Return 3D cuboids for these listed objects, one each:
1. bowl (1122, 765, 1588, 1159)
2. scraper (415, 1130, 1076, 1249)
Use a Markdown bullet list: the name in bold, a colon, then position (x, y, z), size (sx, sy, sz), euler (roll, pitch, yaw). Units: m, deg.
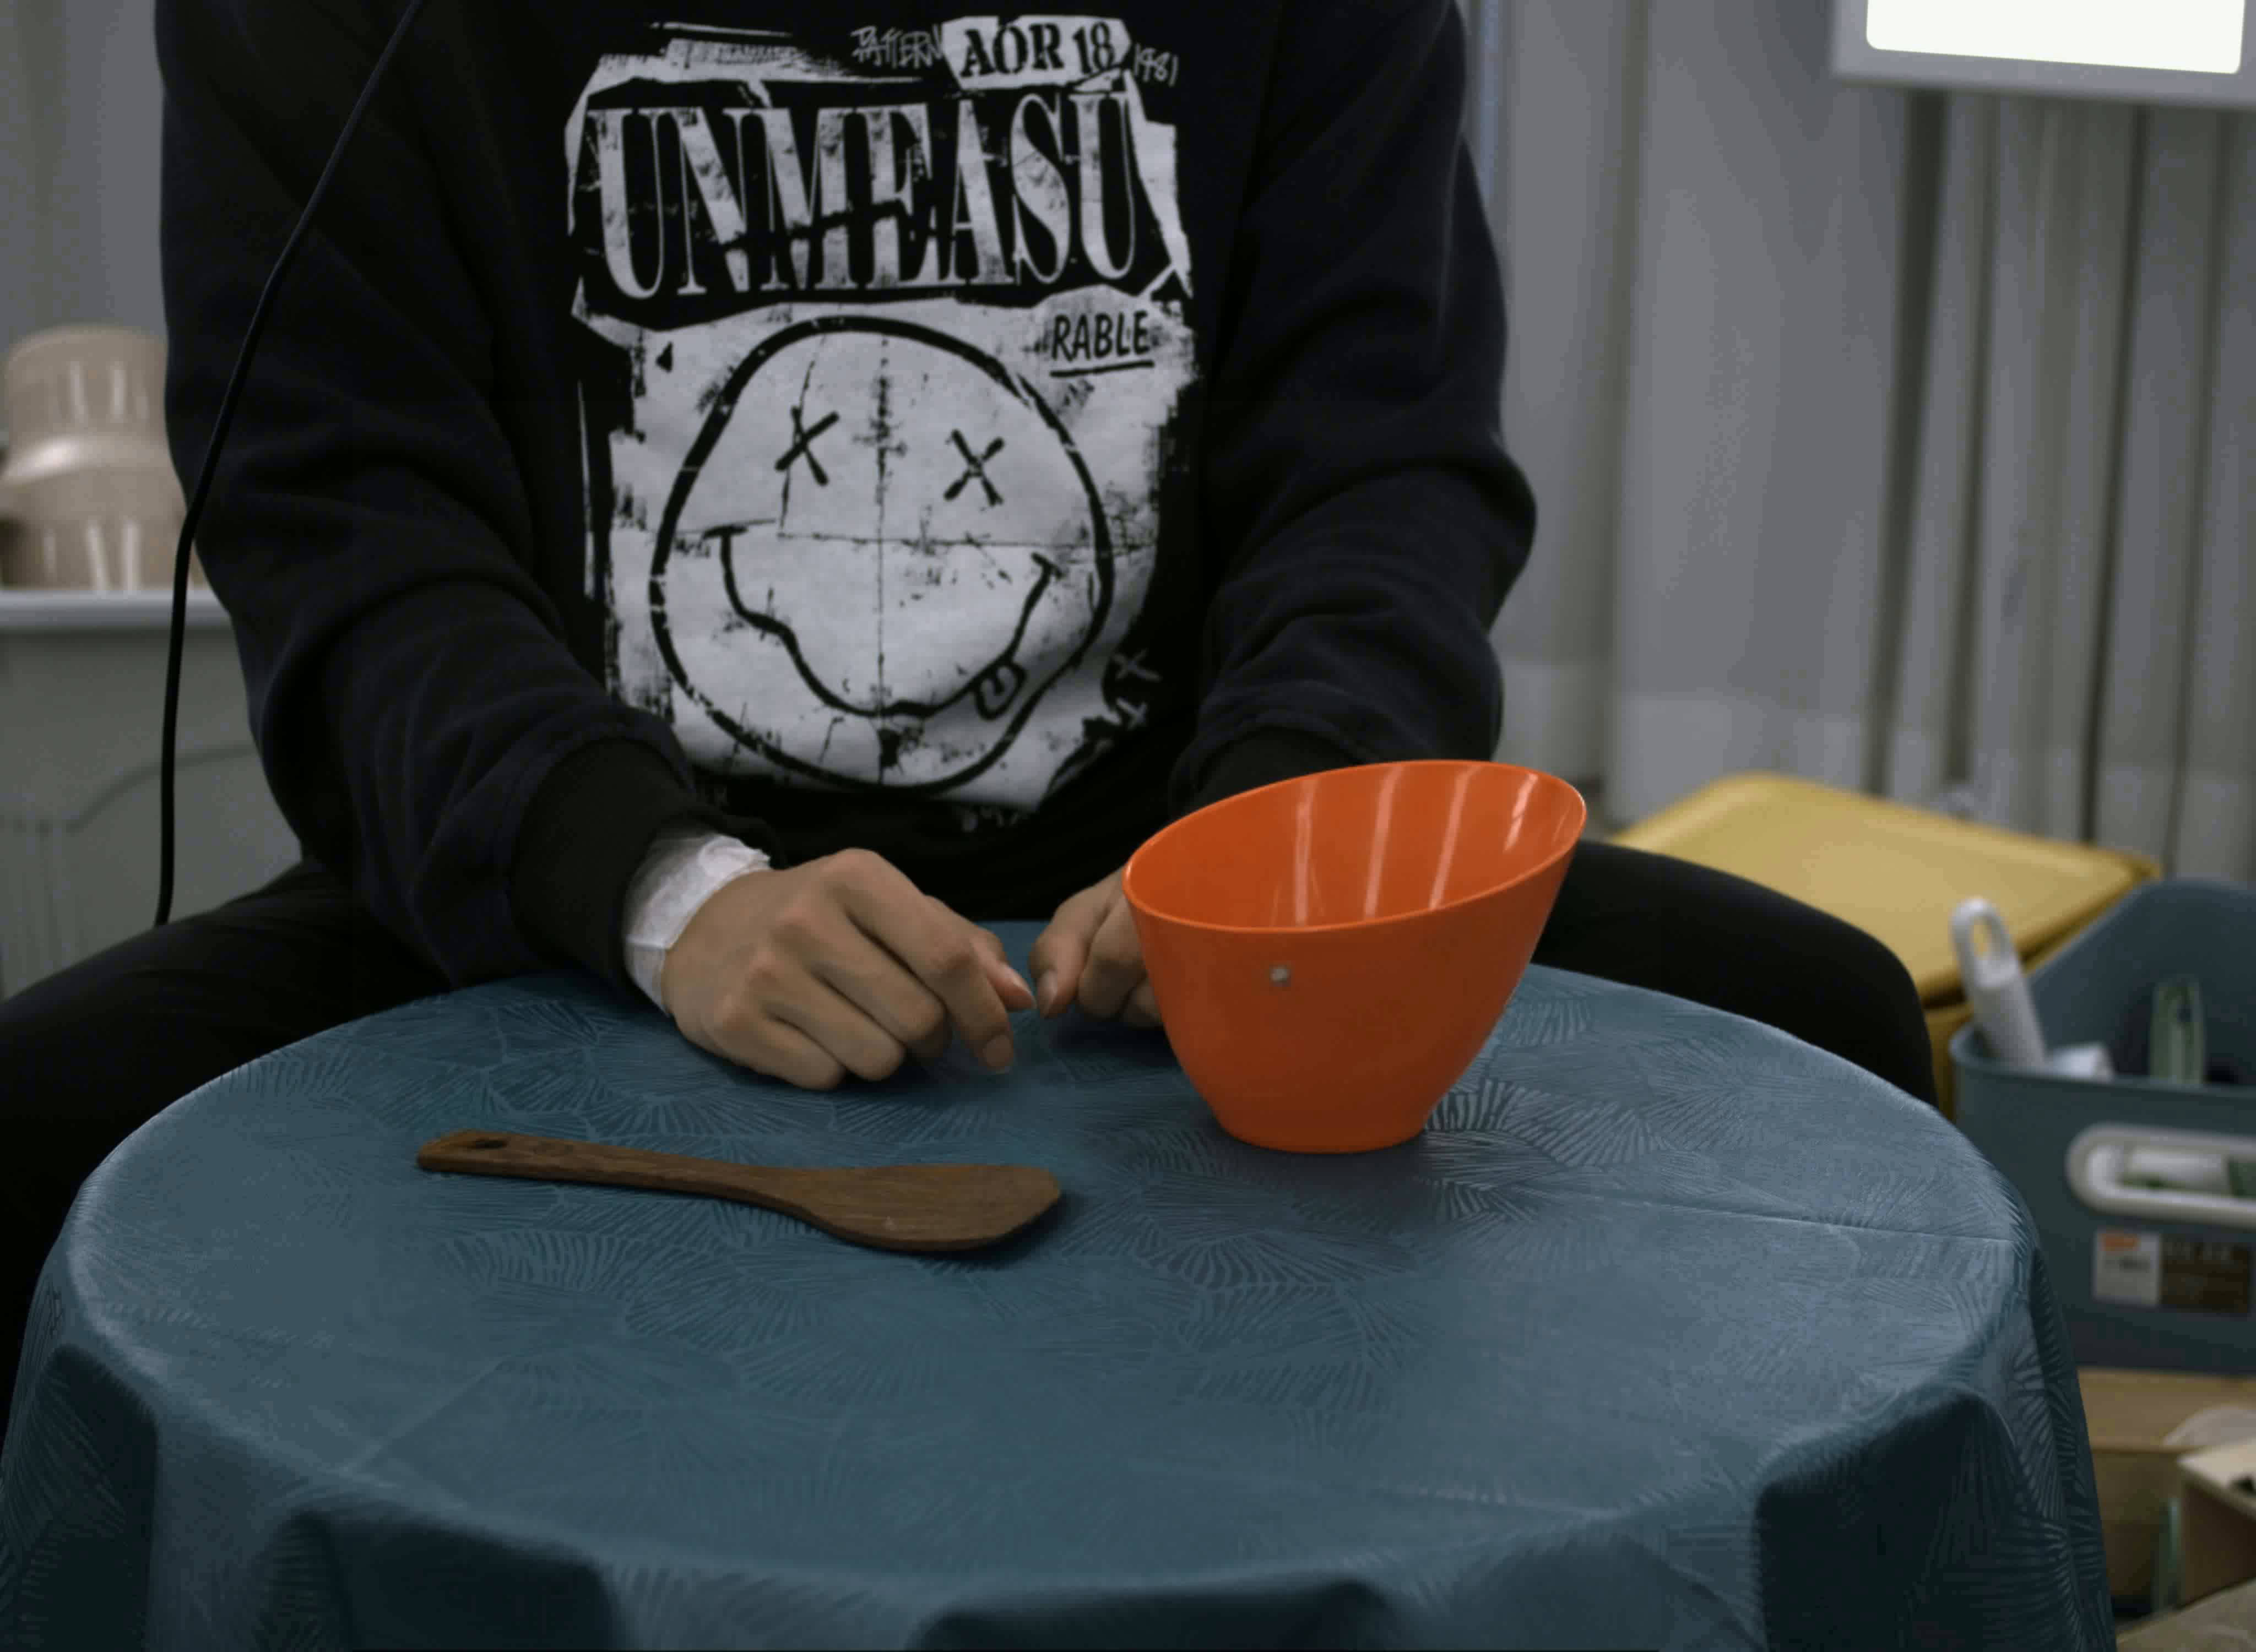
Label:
- **bowl**: position (0.072, 0.046, 1.680), size (0.147, 0.105, 0.147), euler (1, 17, 0)
- **scraper**: position (-0.121, 0.109, 1.620), size (0.209, 0.011, 0.076), euler (5, 15, 18)
